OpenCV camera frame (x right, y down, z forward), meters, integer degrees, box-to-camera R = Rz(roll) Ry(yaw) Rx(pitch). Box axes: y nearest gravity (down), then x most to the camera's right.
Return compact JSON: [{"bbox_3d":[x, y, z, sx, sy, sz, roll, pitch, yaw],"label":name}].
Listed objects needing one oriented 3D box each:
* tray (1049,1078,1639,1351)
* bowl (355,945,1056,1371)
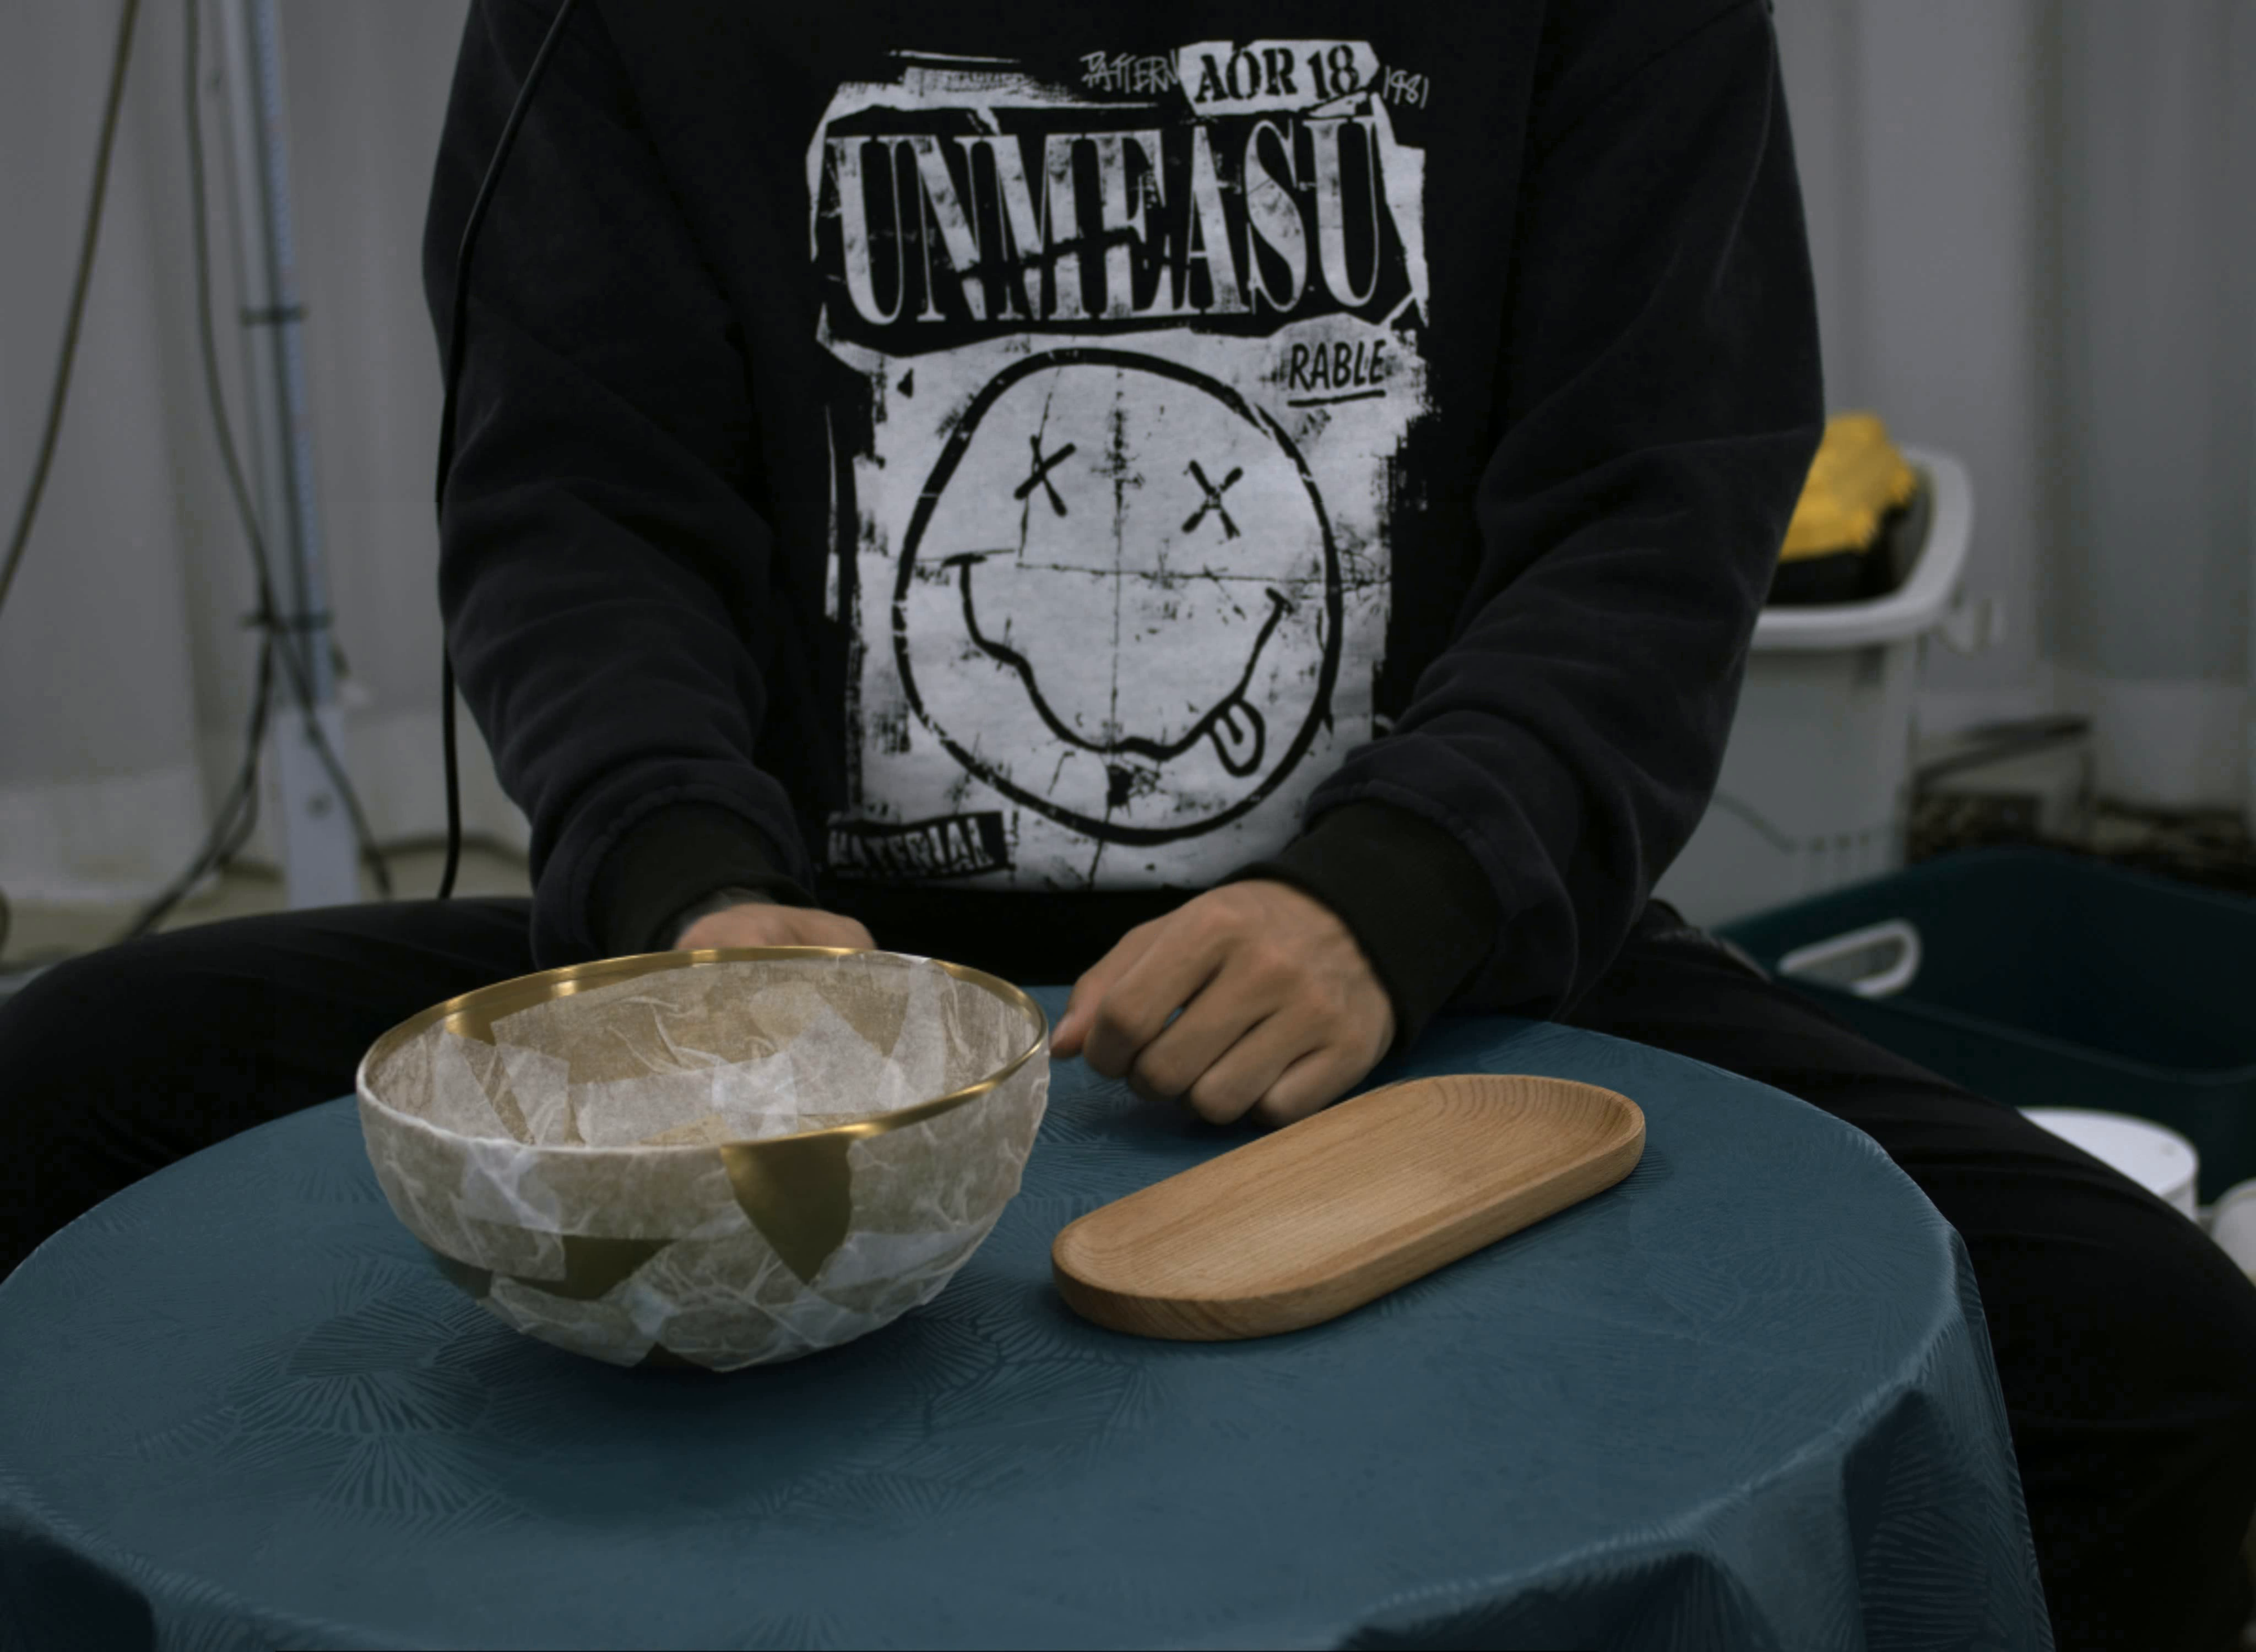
[{"bbox_3d":[0.069,0.117,1.666,0.102,0.020,0.231,7,19,39],"label":"tray"},{"bbox_3d":[-0.117,0.104,1.598,0.214,0.094,0.216,-3,14,1],"label":"bowl"}]
